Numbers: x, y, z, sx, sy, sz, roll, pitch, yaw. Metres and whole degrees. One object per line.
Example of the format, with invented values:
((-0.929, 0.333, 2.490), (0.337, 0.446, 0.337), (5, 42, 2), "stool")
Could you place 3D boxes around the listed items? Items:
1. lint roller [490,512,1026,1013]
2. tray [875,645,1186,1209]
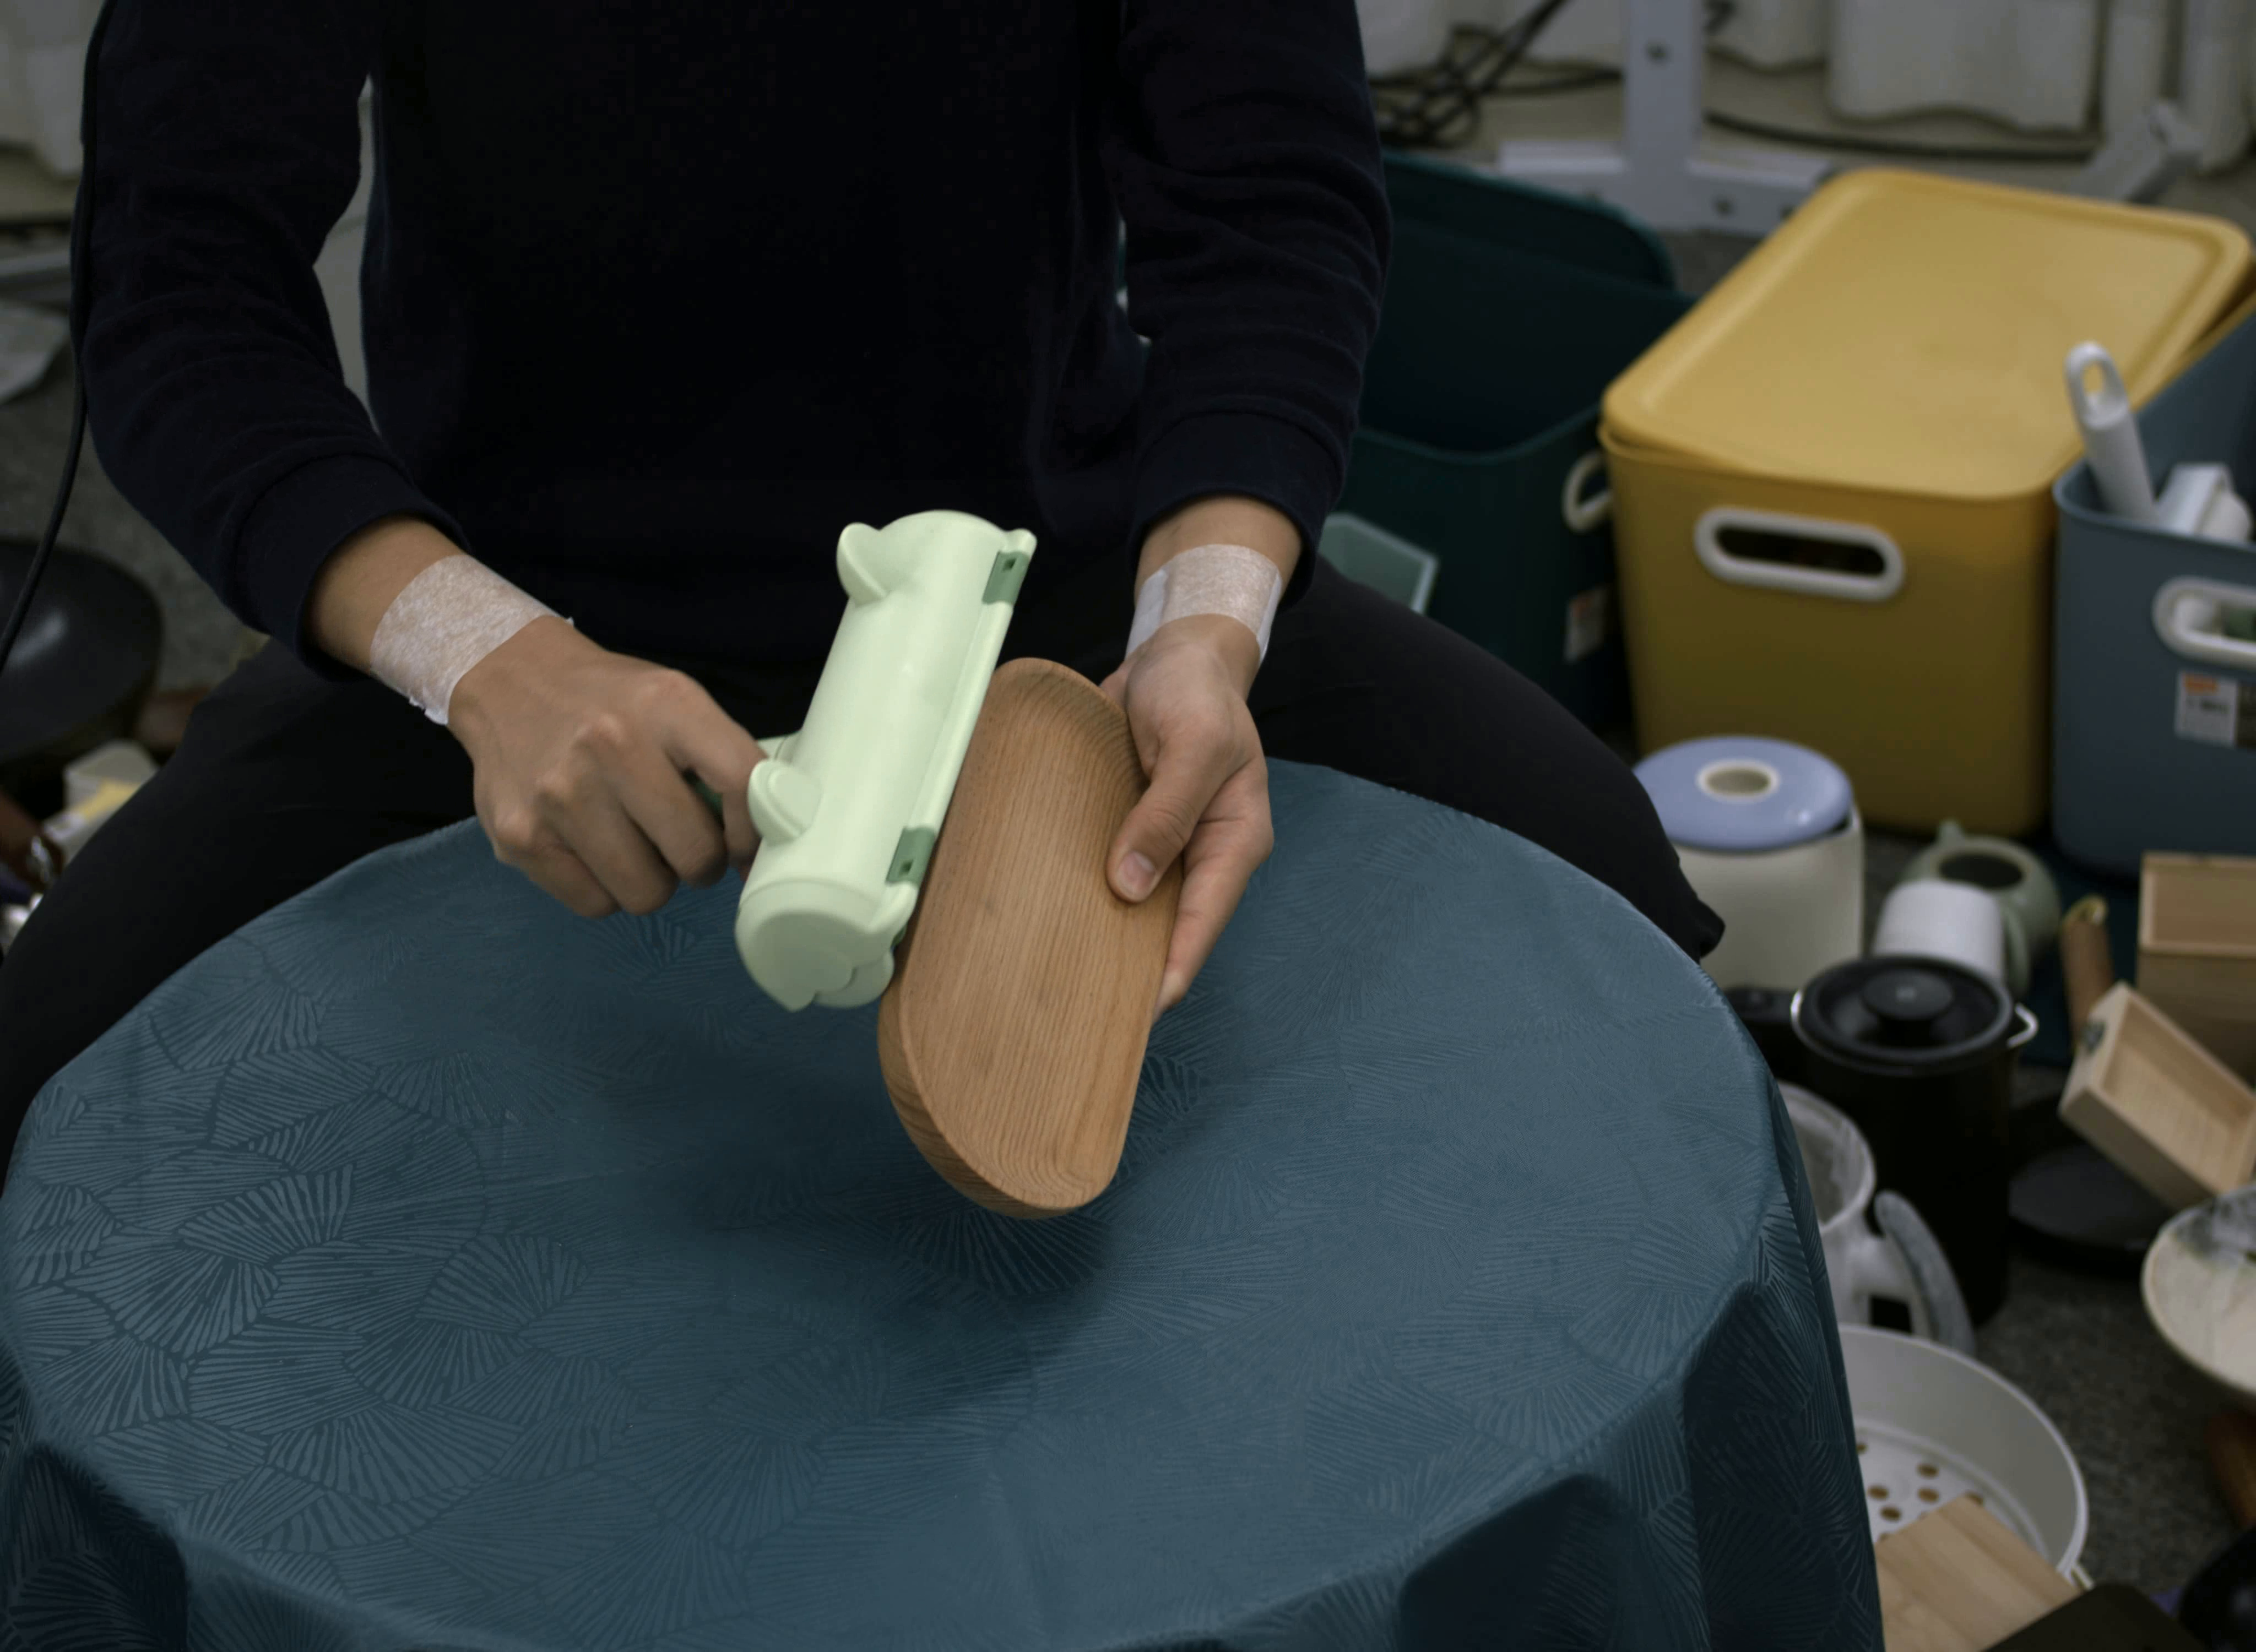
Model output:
((-0.137, -0.025, 1.851), (0.181, 0.081, 0.203), (-4, 41, 18), "lint roller")
((-0.031, 0.032, 1.849), (0.020, 0.101, 0.236), (-32, 29, 33), "tray")
